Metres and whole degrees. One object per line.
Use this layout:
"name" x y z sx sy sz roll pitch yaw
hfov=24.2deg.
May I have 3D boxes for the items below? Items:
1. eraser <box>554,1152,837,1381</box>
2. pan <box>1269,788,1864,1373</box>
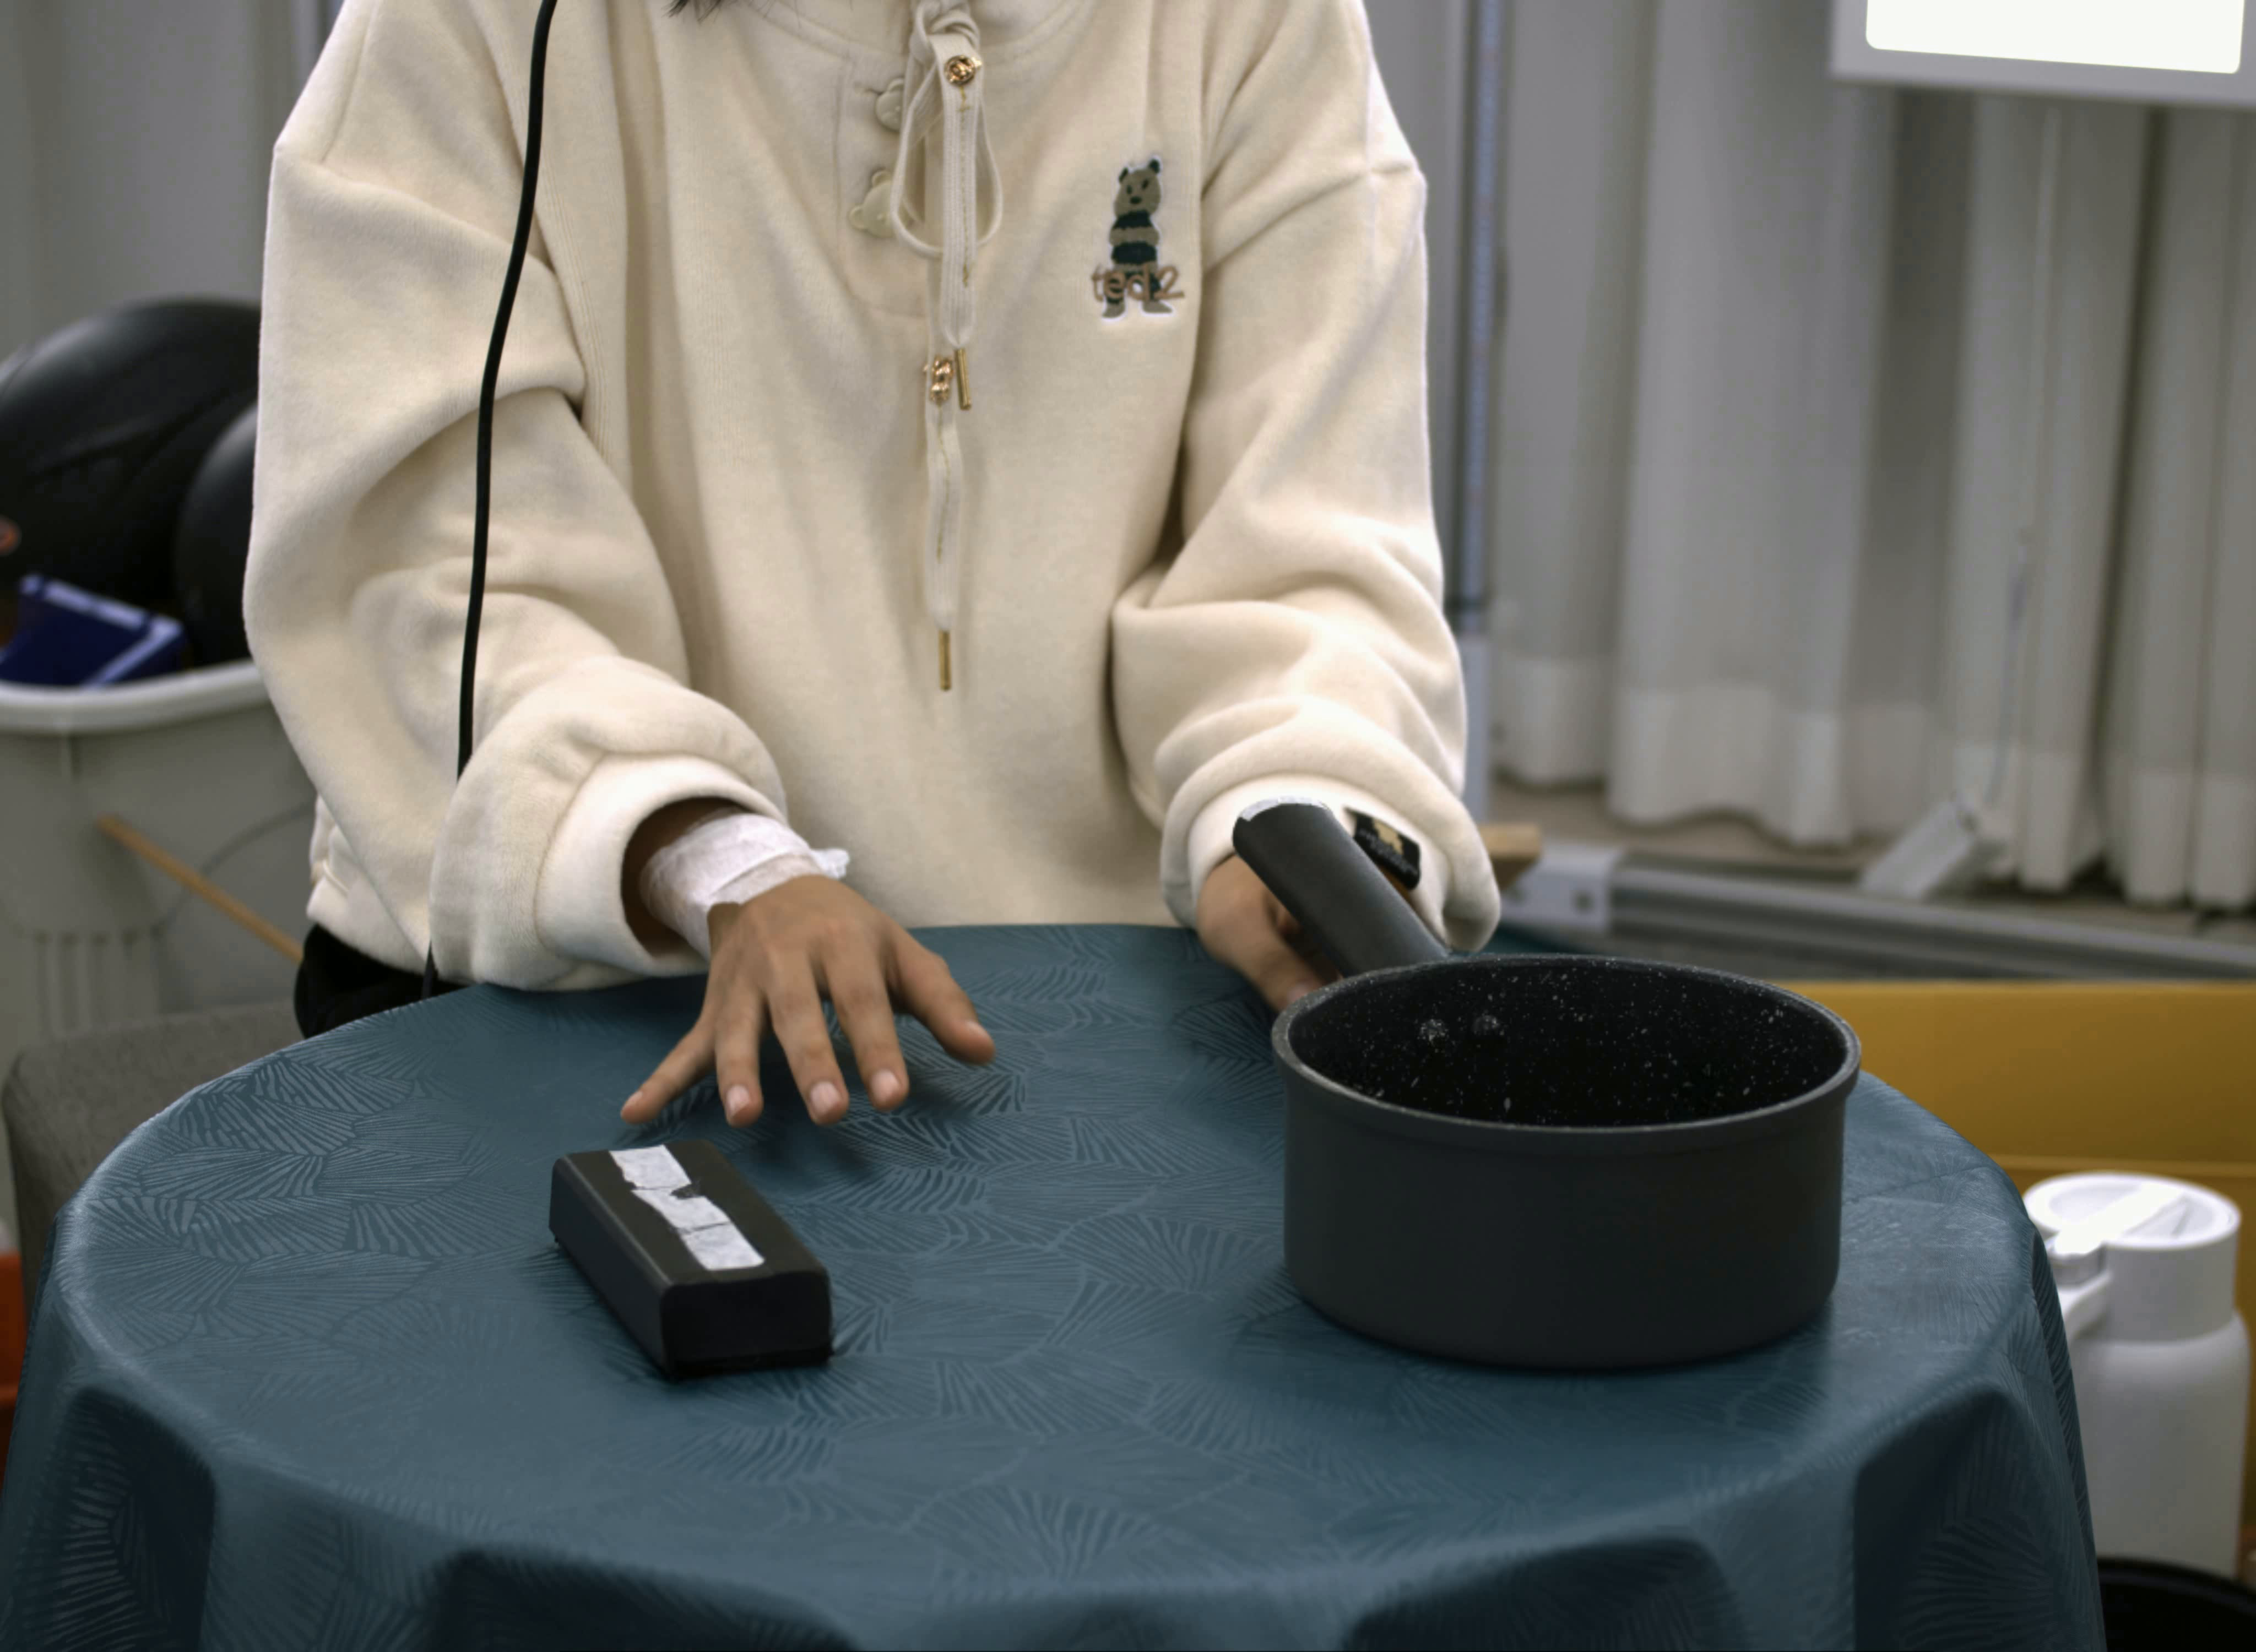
"eraser" -0.125 0.126 1.519 0.053 0.031 0.124 -4 15 -19
"pan" 0.105 0.073 1.608 0.172 0.087 0.325 -3 17 -16
